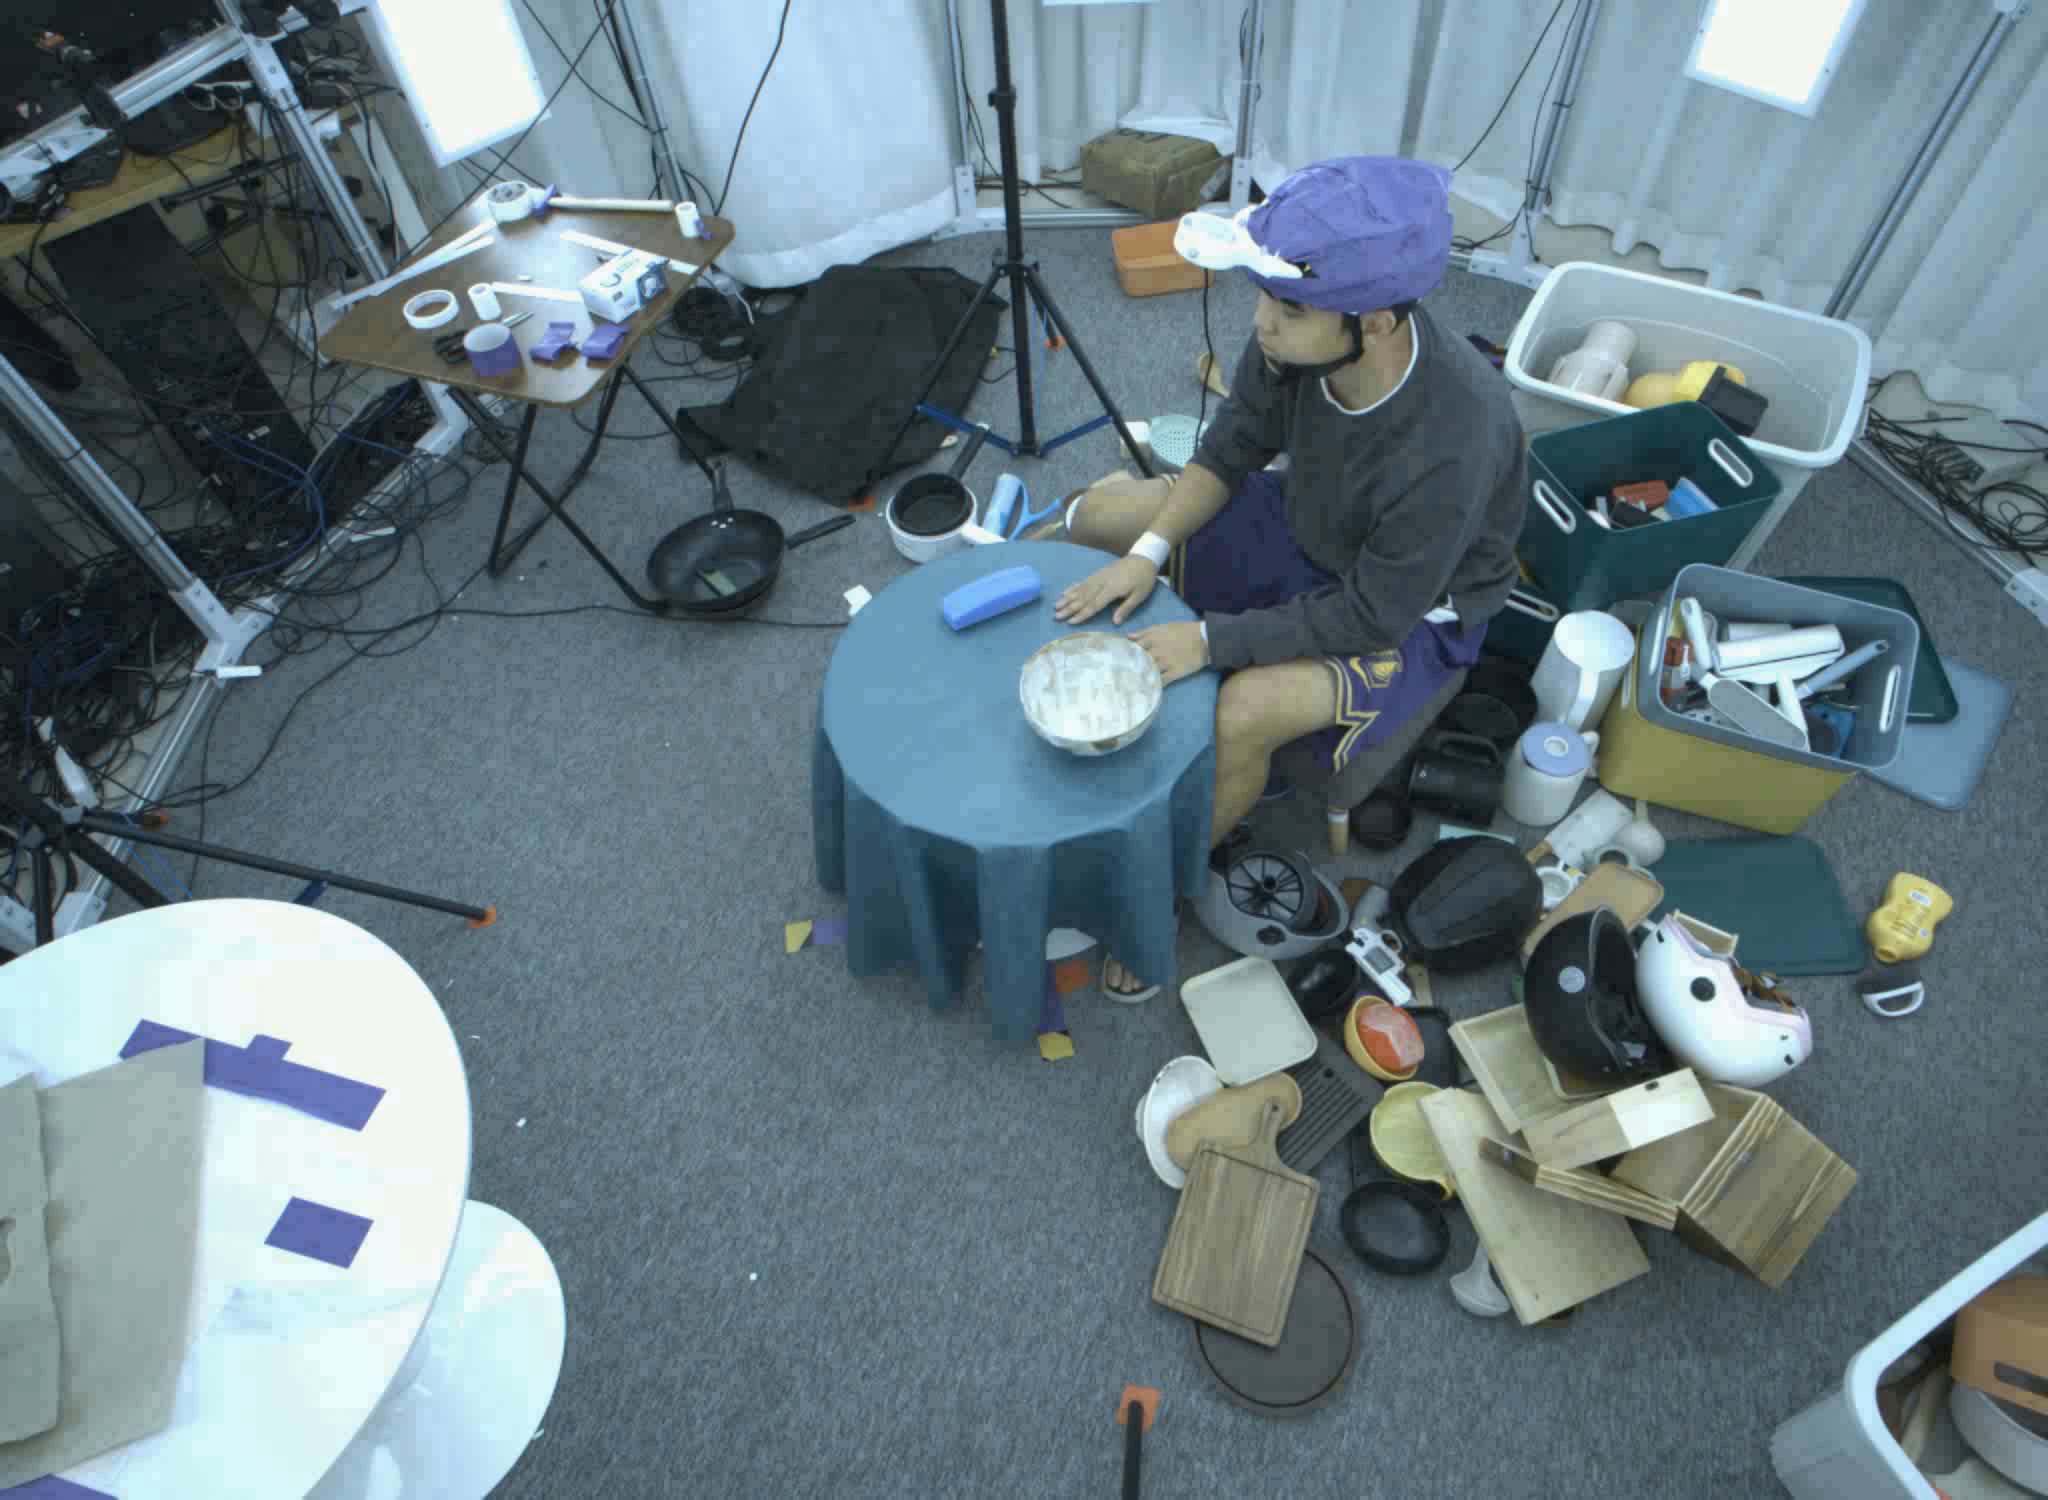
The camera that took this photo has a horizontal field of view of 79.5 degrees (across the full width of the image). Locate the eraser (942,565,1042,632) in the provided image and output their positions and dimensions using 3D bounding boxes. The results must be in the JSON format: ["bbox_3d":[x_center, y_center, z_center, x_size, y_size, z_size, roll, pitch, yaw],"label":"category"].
[{"bbox_3d":[-0.052,-0.244,1.937,0.163,0.048,0.053,-24,55,-14],"label":"eraser"}]

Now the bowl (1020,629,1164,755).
[{"bbox_3d":[0.101,-0.068,1.777,0.214,0.095,0.212,-1,54,3],"label":"bowl"}]
